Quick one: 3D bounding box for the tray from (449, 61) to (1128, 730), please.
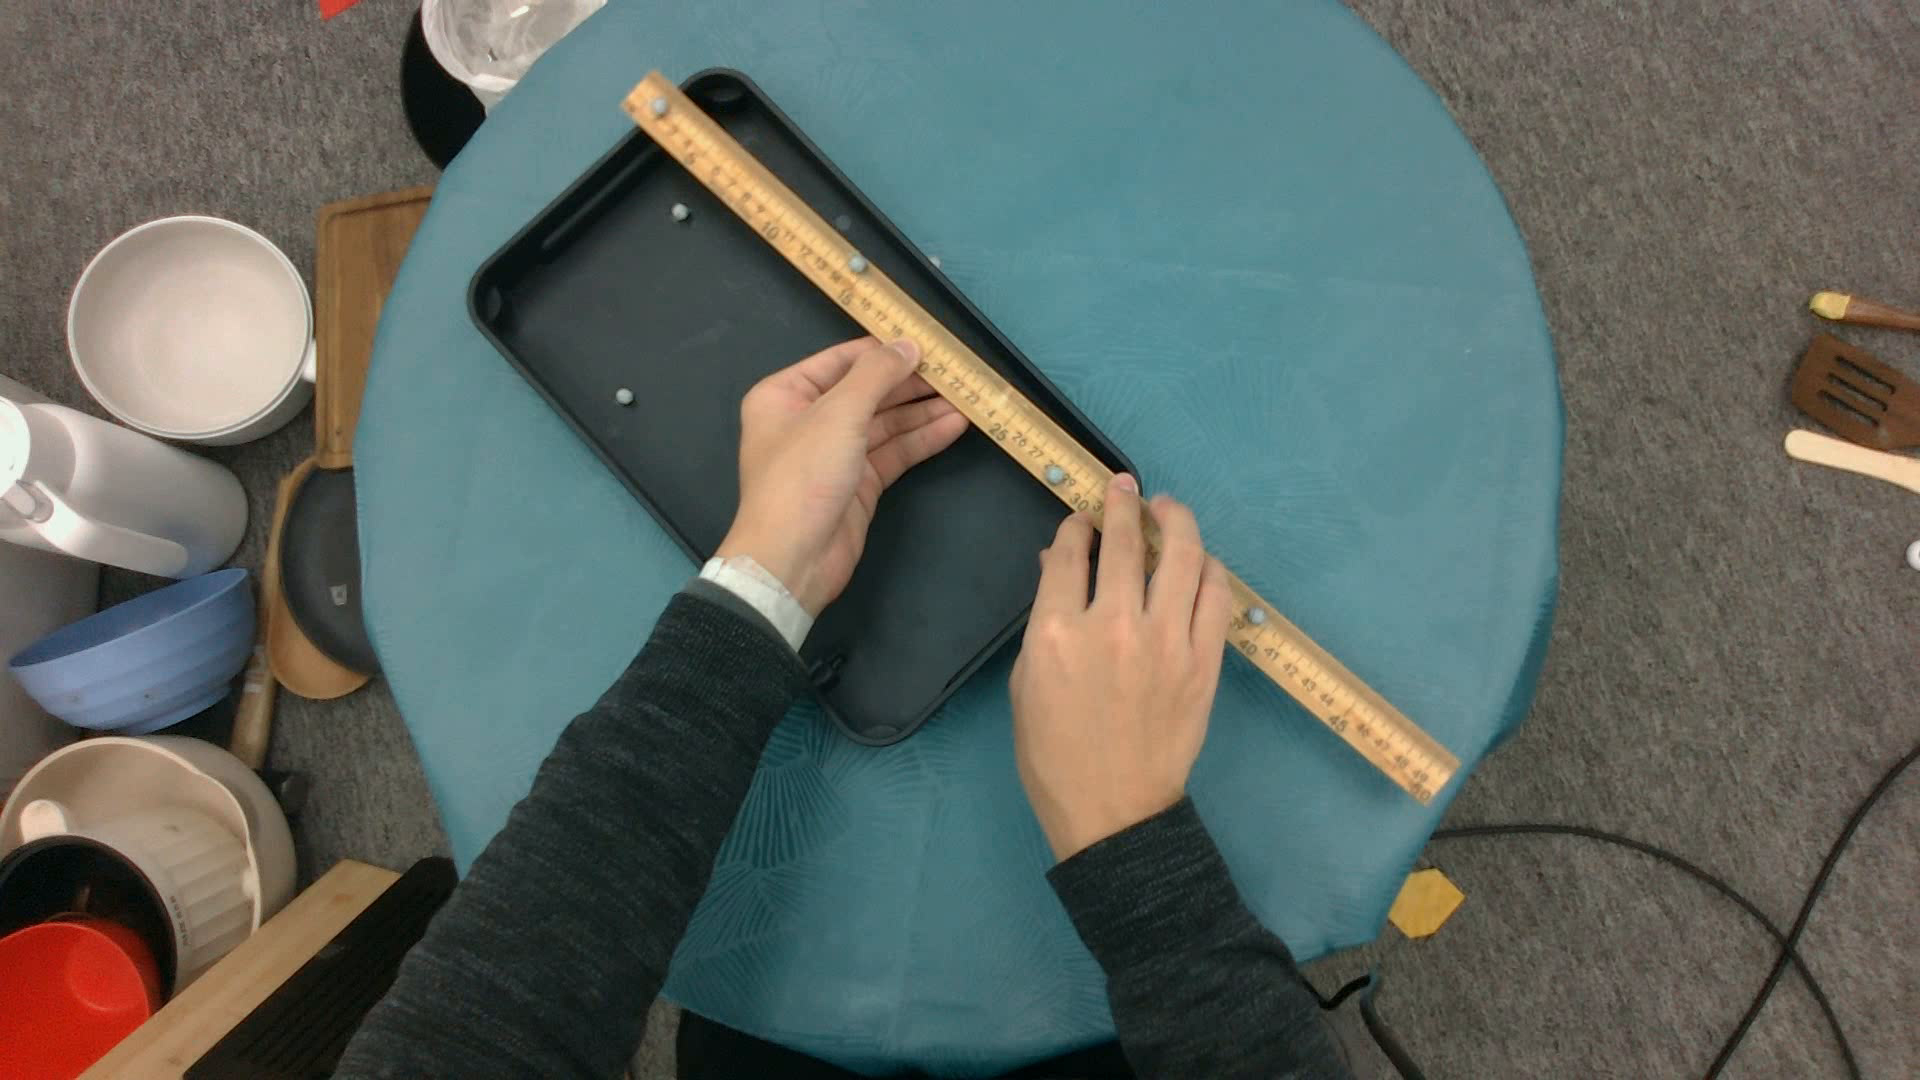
[{"bbox_3d":[-0.087,-0.075,0.675,0.184,0.037,0.318,-45,79,-4],"label":"tray"}]

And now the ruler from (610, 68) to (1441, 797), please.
[{"bbox_3d":[0.018,-0.059,0.639,0.500,0.006,0.027,42,90,9],"label":"ruler"}]
